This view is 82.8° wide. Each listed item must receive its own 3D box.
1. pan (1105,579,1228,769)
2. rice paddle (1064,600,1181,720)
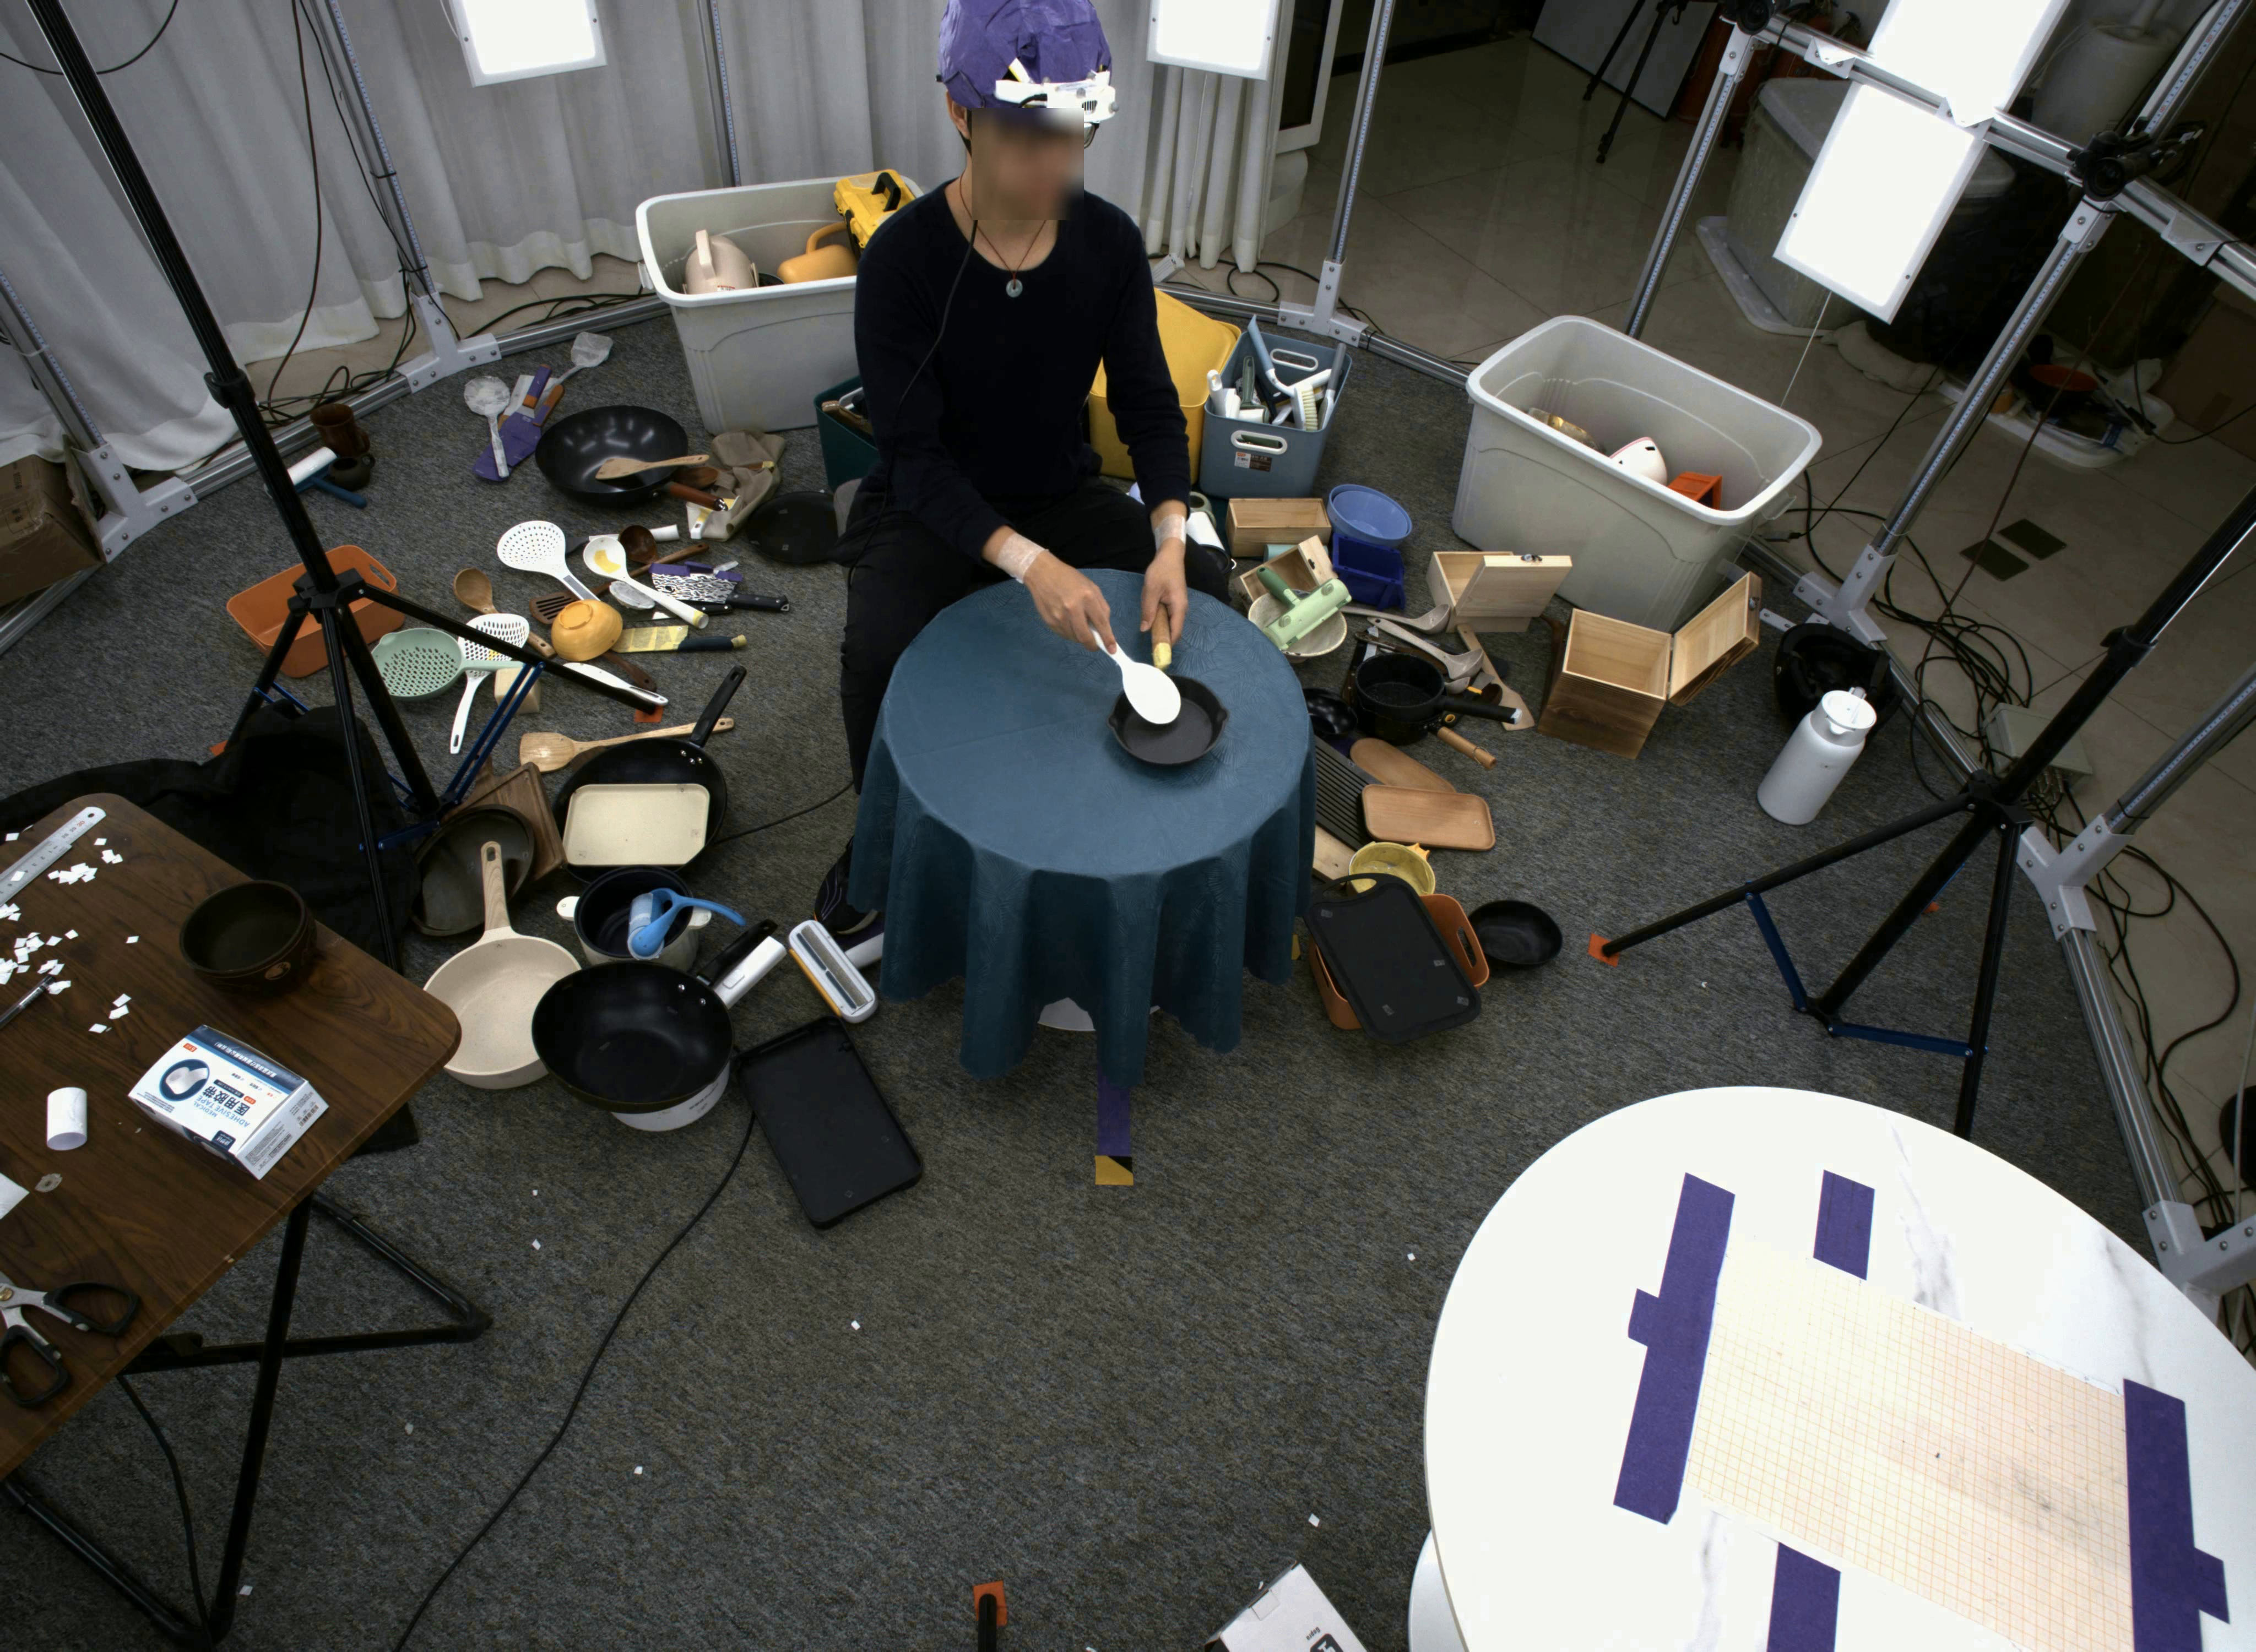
[{"bbox_3d":[0.052,-0.214,1.807,0.169,0.048,0.332,0,56,0],"label":"pan"},{"bbox_3d":[-0.006,-0.227,1.763,0.205,0.029,0.069,46,74,-1],"label":"rice paddle"}]
